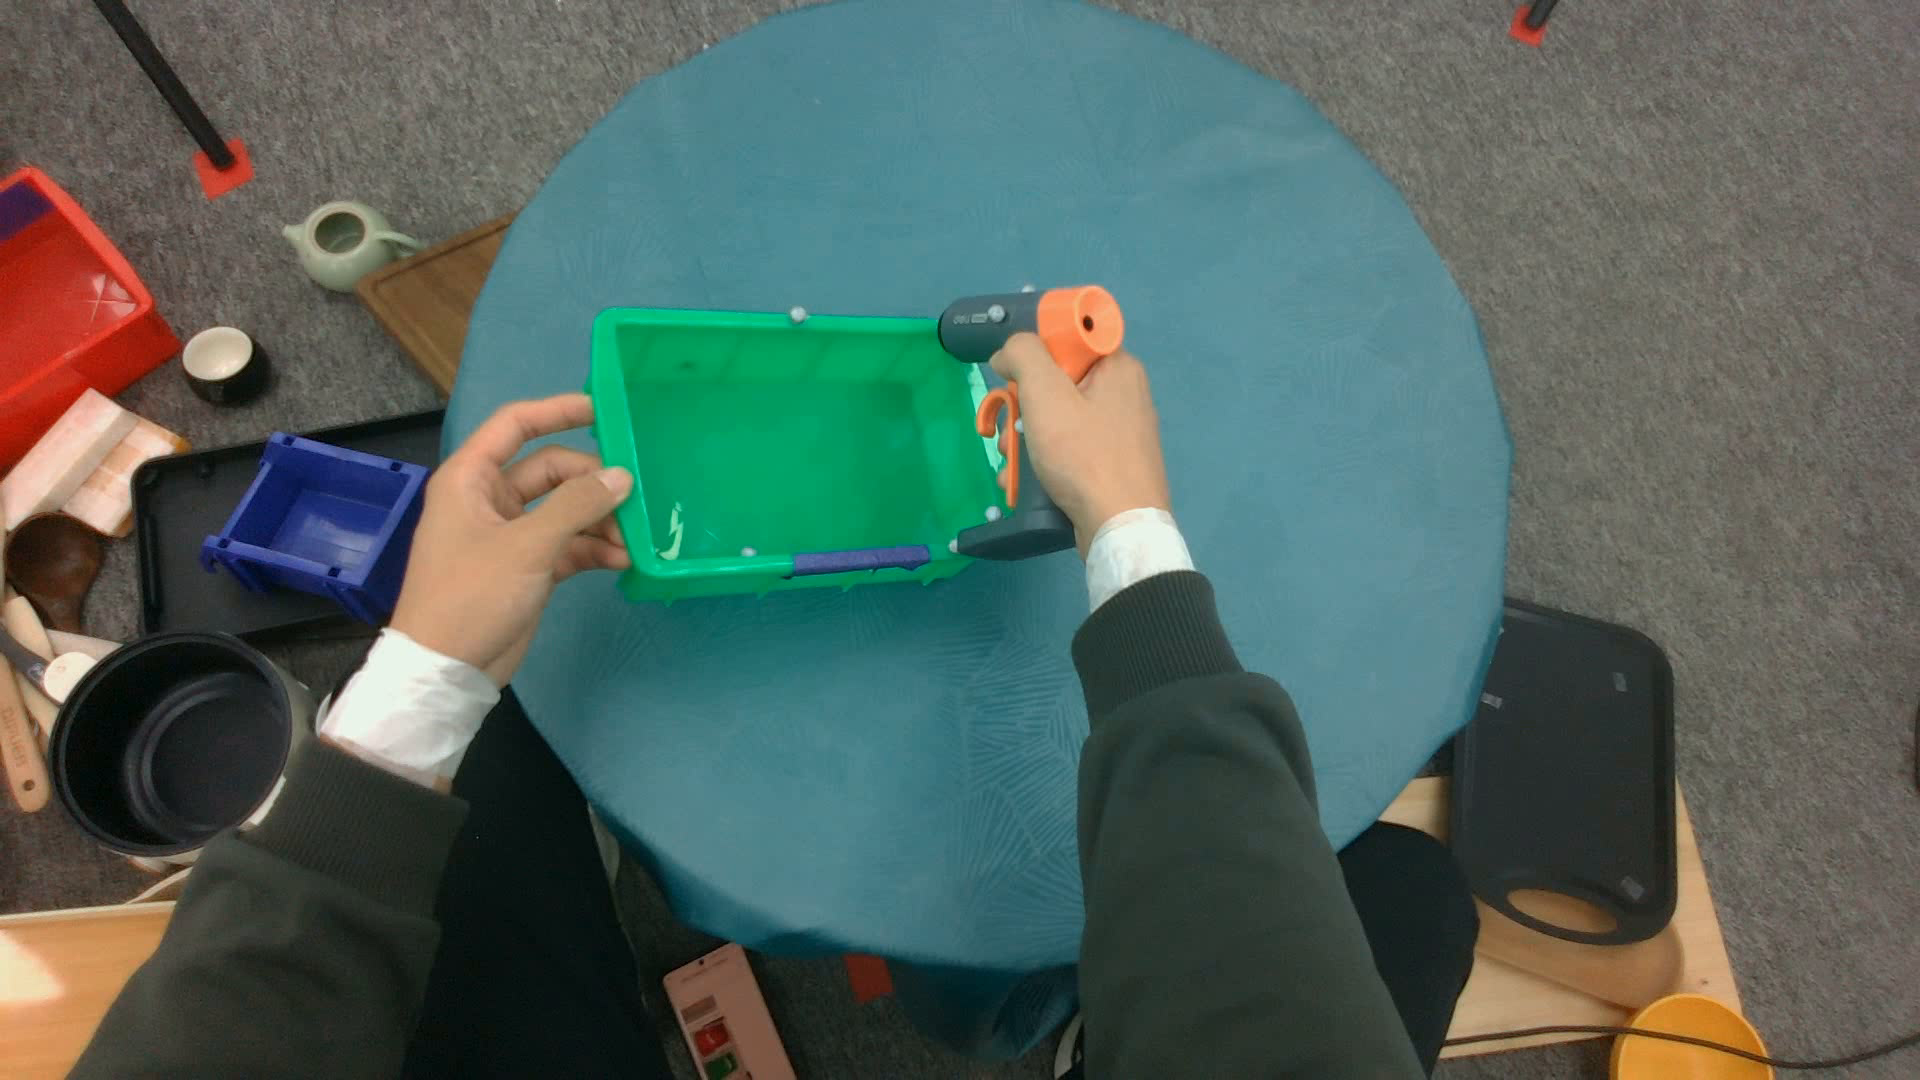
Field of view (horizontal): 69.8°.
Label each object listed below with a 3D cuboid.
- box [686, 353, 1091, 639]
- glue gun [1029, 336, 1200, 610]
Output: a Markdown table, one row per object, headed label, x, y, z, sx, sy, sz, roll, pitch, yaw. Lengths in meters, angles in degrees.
| label | x | y | z | sx | sy | sz | roll | pitch | yaw |
| --- | --- | --- | --- | --- | --- | --- | --- | --- | --- |
| box | -0.038 | -0.020 | 0.717 | 0.211 | 0.065 | 0.139 | -2 | 68 | -28 |
| glue gun | 0.070 | -0.039 | 0.688 | 0.041 | 0.117 | 0.140 | 12 | 70 | -29 |
